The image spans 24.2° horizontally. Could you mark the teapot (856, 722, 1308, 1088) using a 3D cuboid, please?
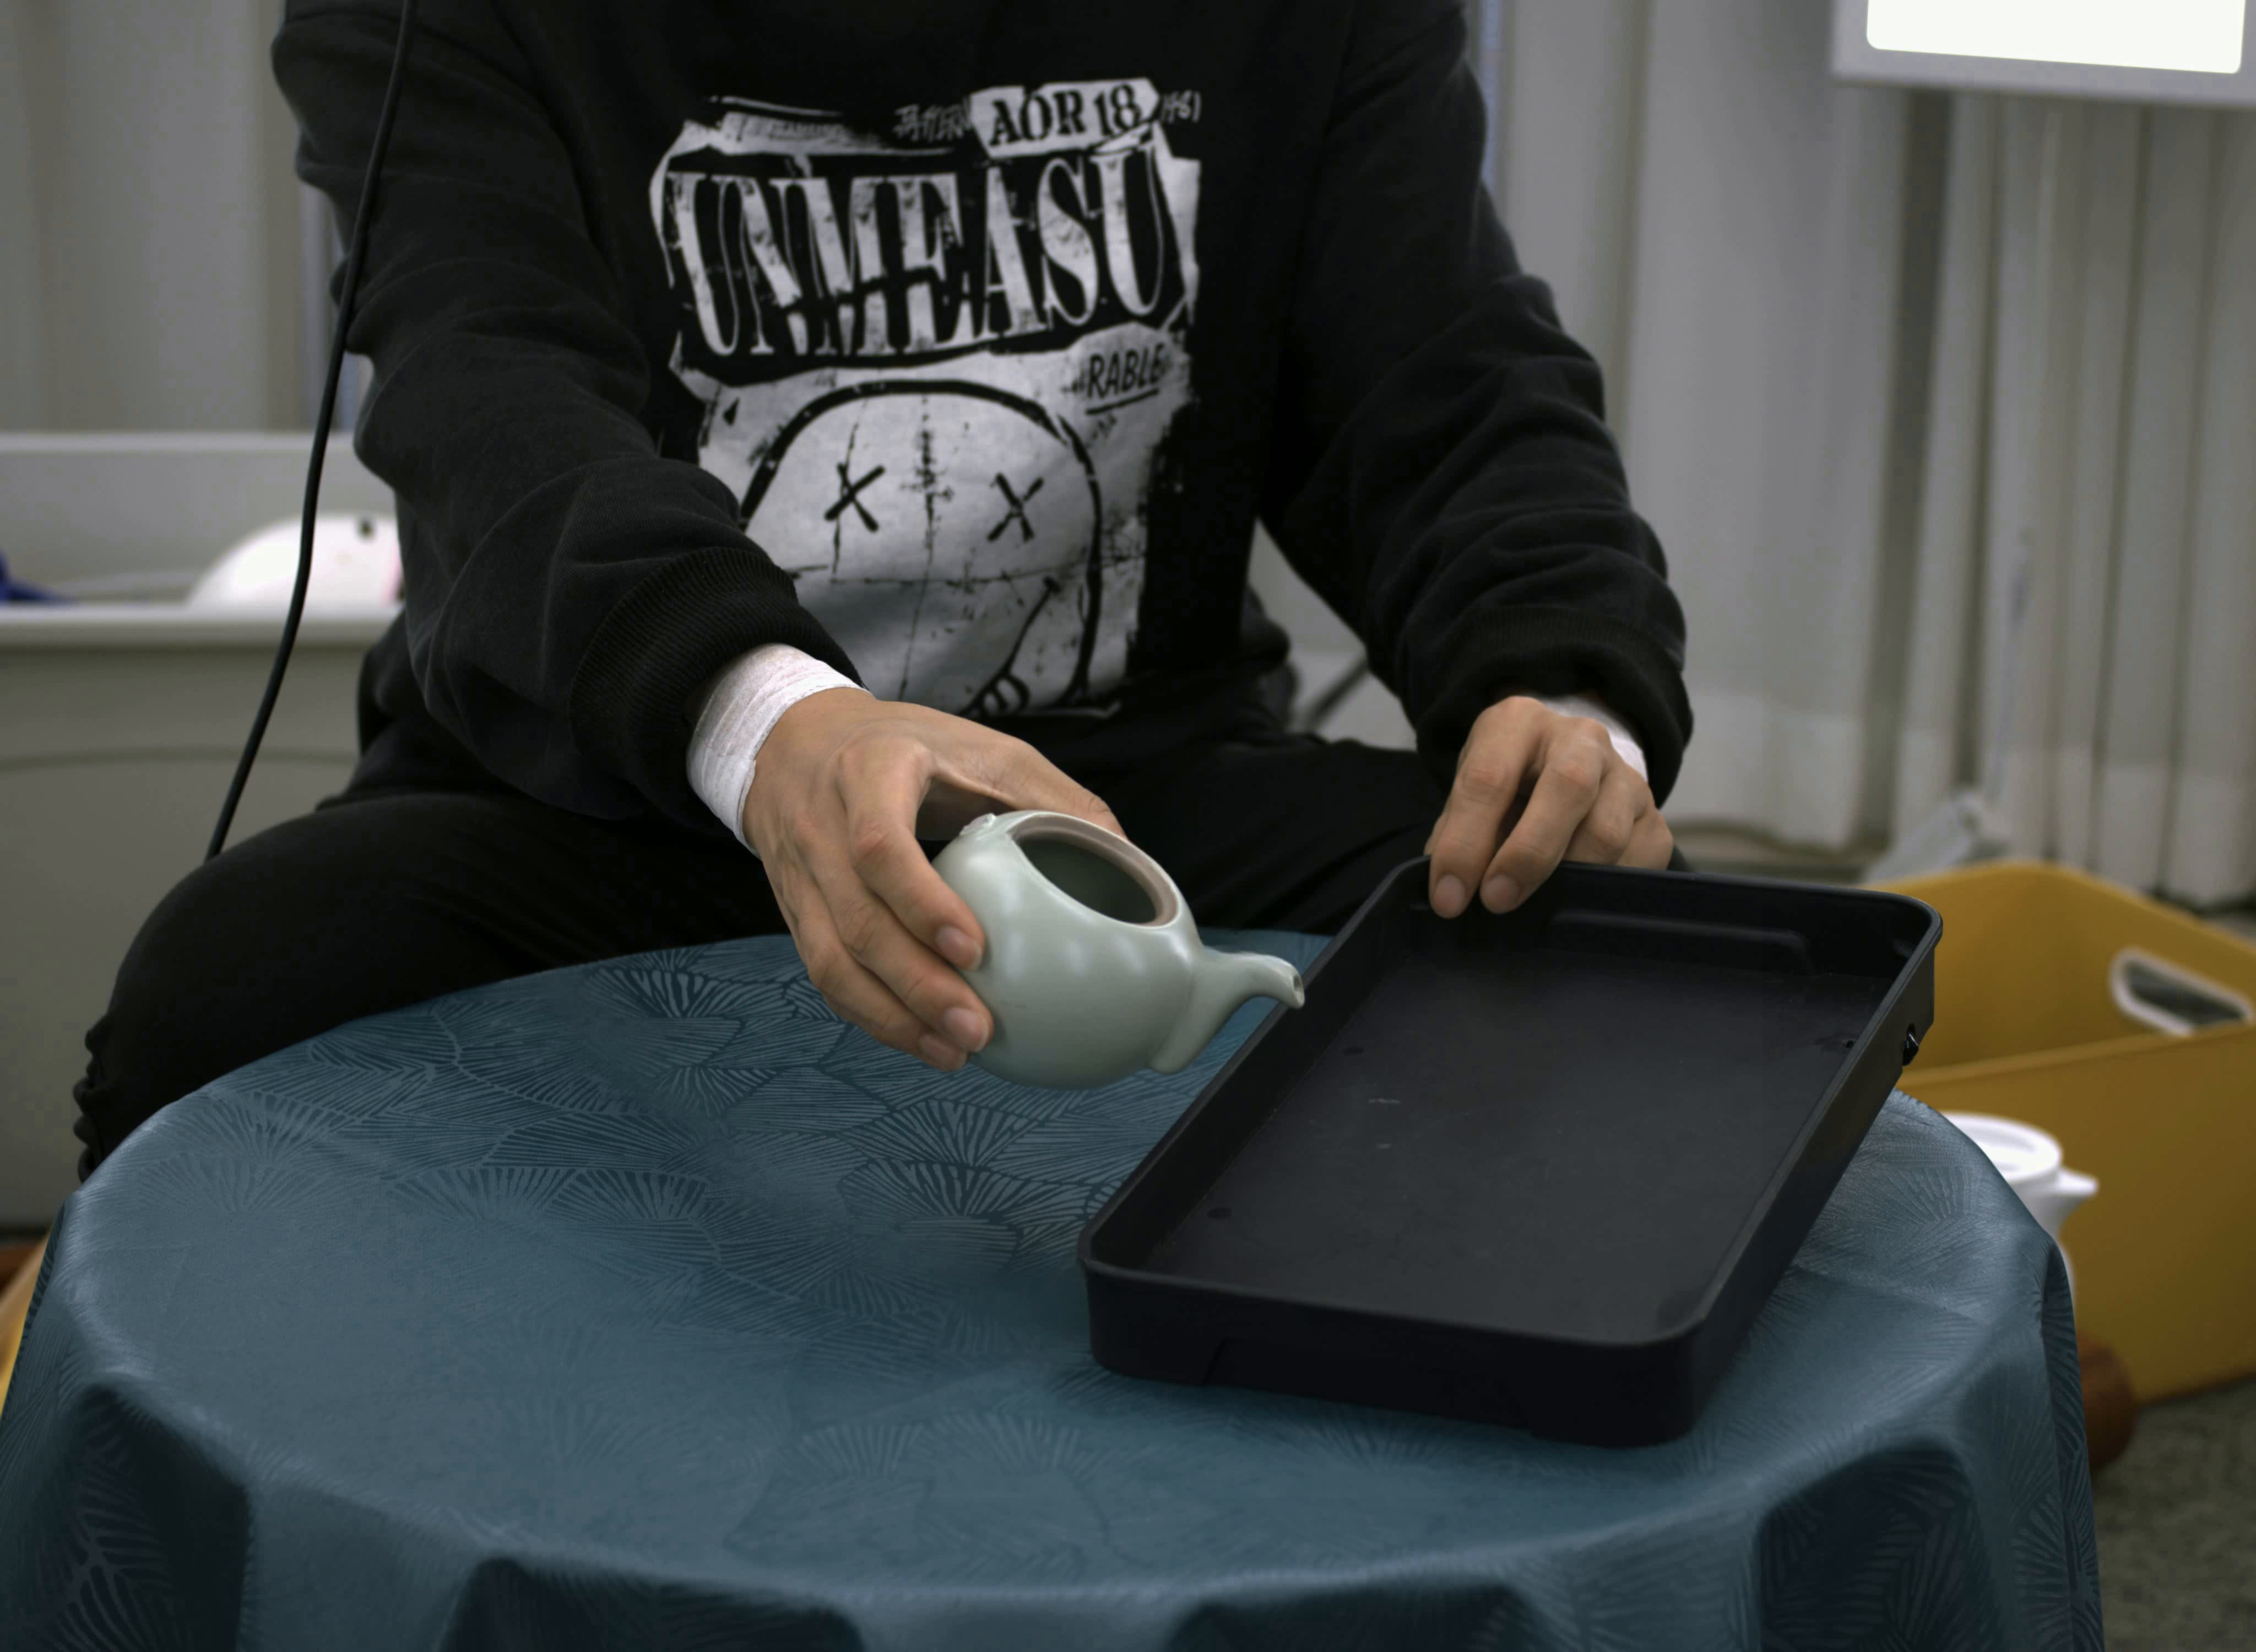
[{"bbox_3d":[-0.022,0.035,1.551,0.143,0.075,0.088,35,24,3],"label":"teapot"}]

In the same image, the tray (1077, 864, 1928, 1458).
[{"bbox_3d":[0.119,0.091,1.570,0.182,0.037,0.317,6,23,19],"label":"tray"}]
